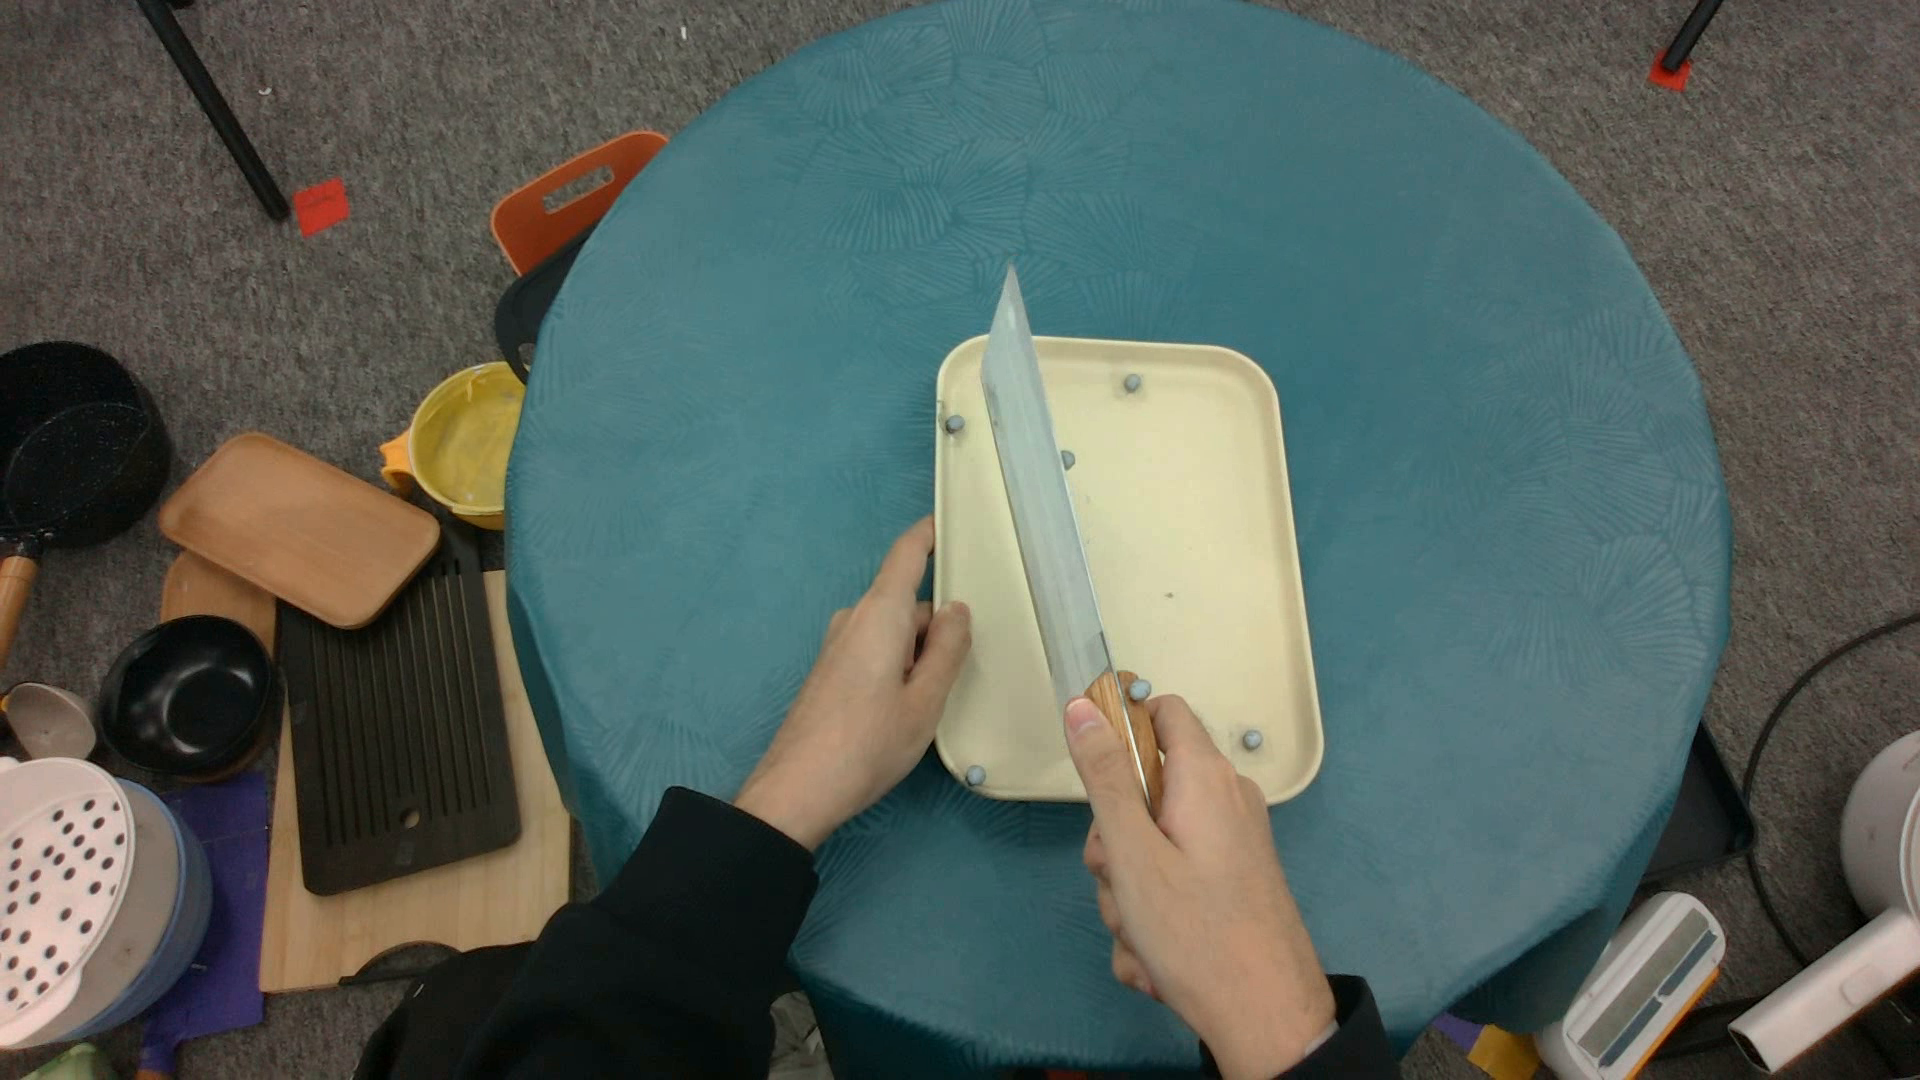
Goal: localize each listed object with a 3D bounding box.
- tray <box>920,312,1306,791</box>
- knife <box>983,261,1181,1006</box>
[{"bbox_3d":[0.065,0.000,0.638,0.171,0.017,0.240,3,63,-7],"label":"tray"},{"bbox_3d":[0.039,0.033,0.562,0.021,0.092,0.306,3,65,-23],"label":"knife"}]
